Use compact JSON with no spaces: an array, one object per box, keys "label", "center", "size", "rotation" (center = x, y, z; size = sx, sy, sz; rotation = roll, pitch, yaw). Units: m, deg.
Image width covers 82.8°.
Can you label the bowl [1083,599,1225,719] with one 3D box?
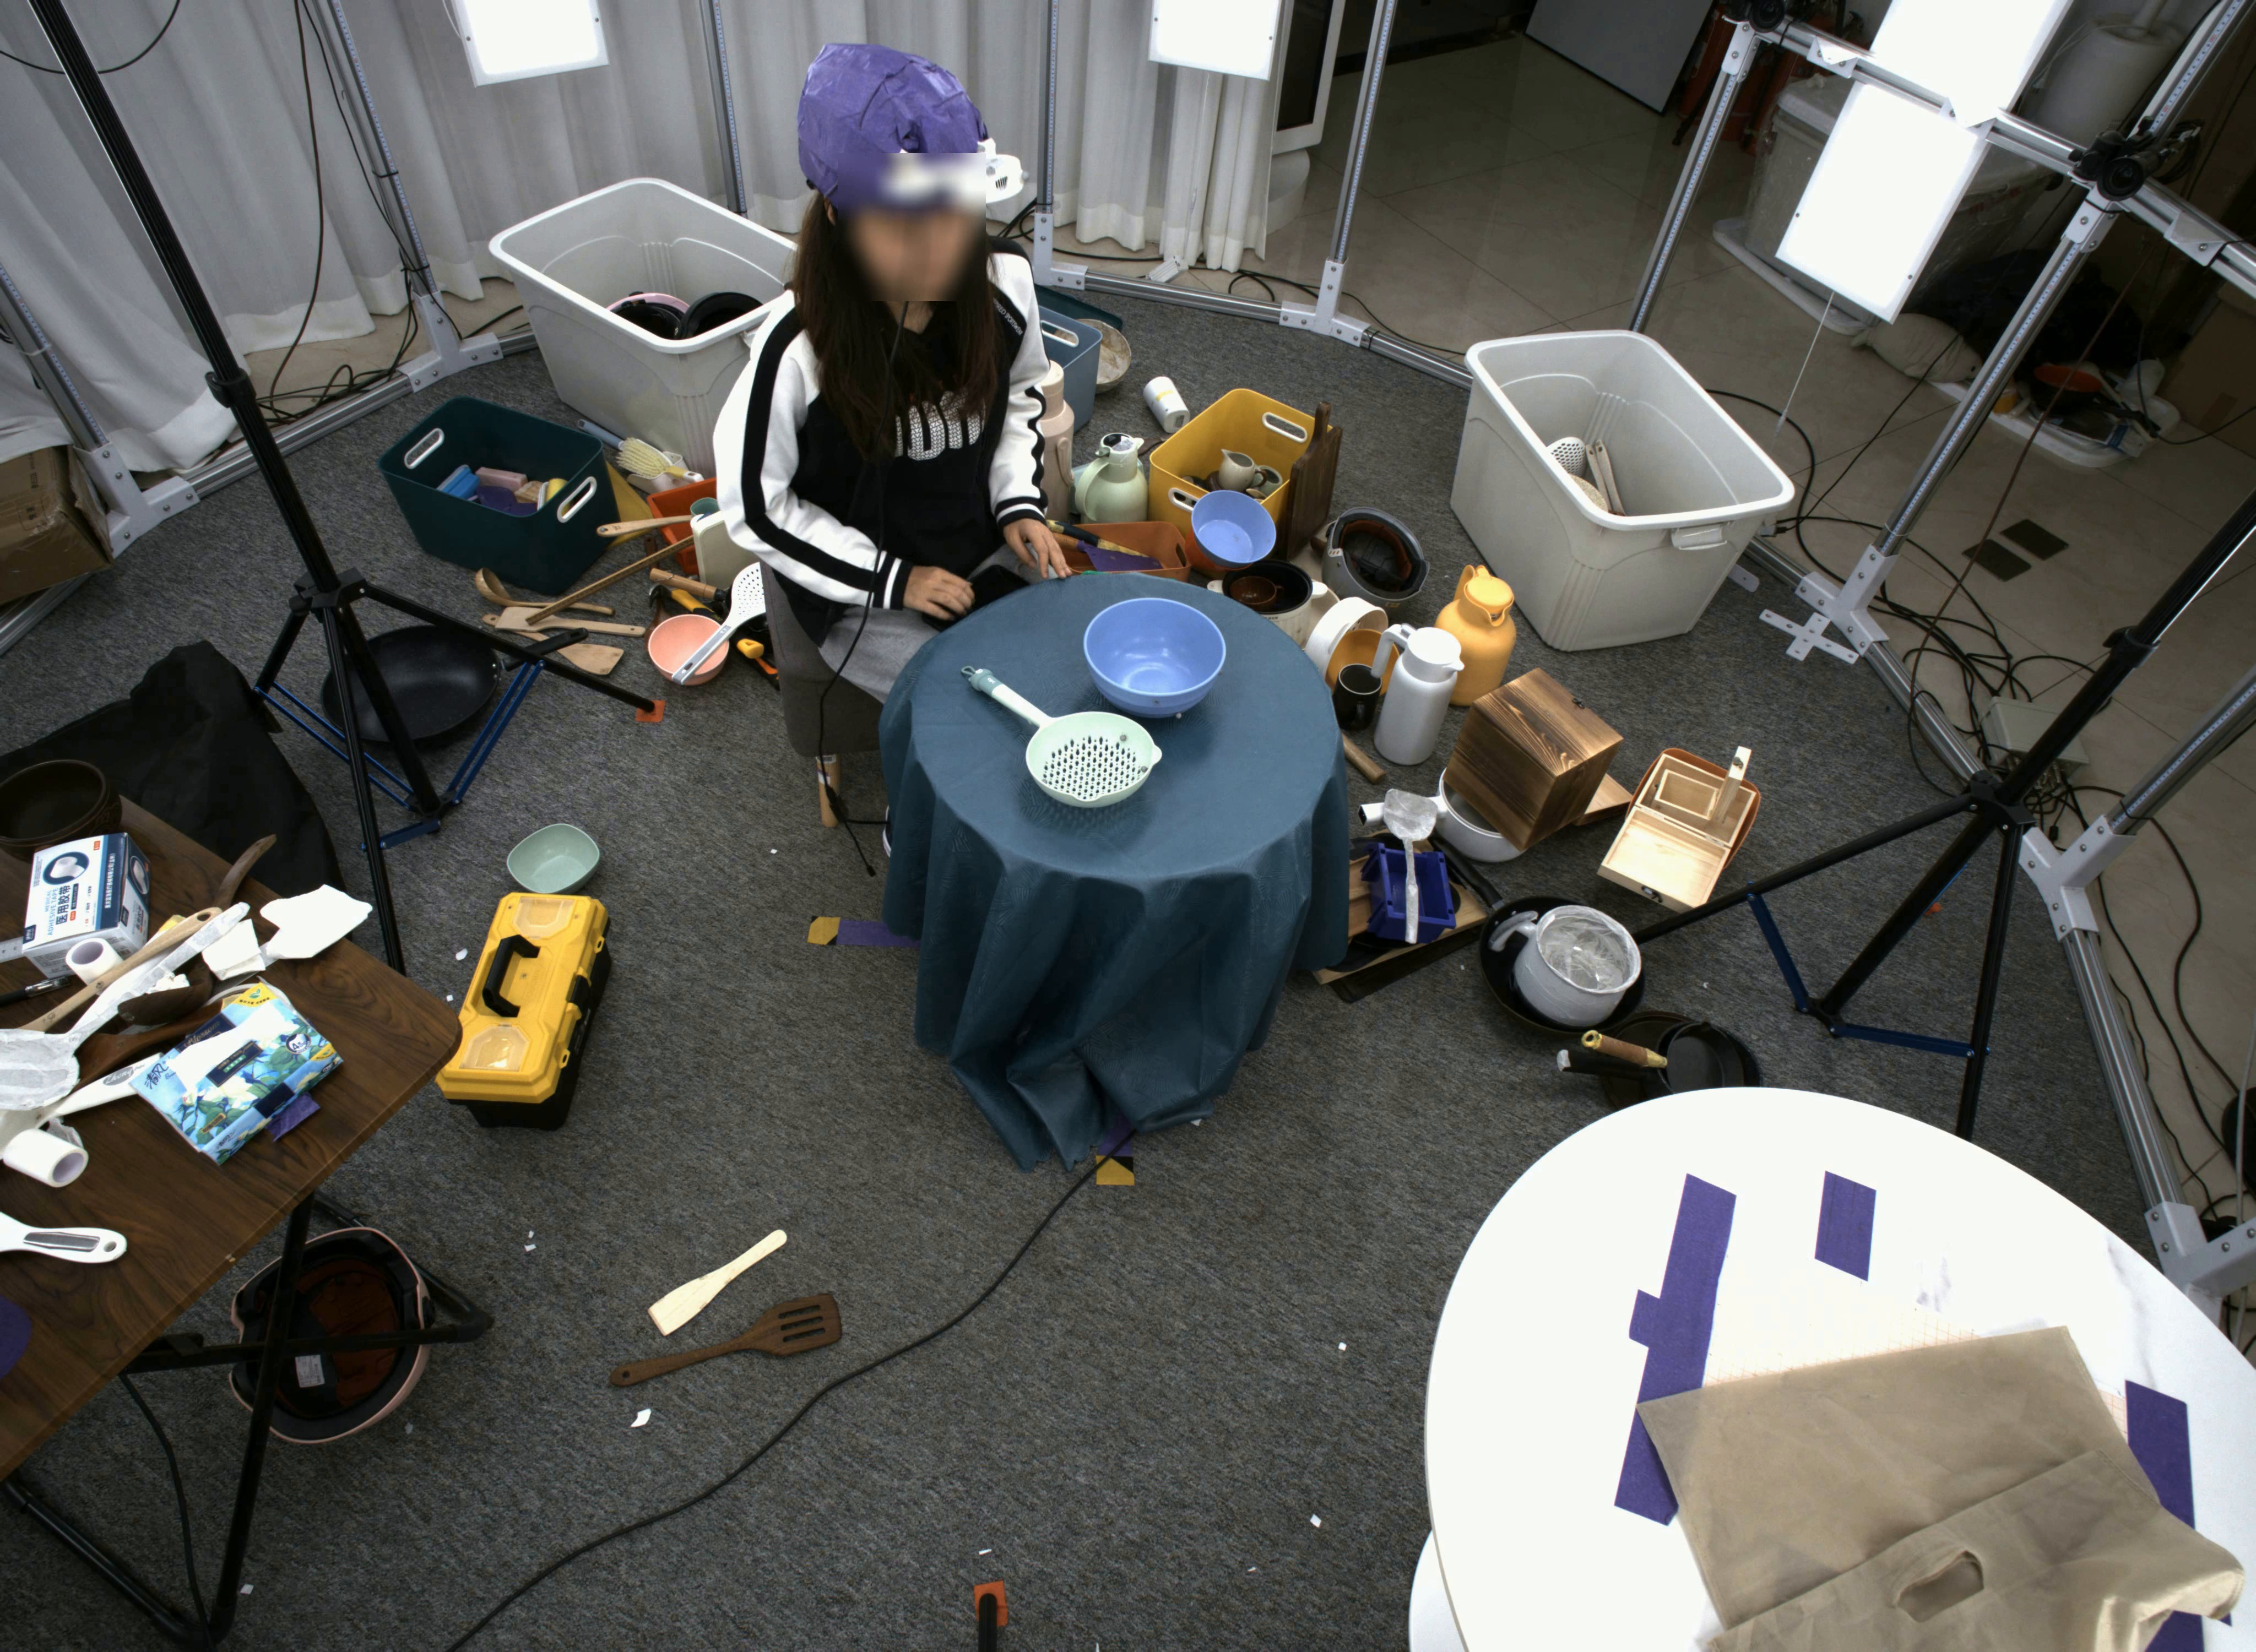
[{"label":"bowl","center":[0.034,-0.219,1.802],"size":[0.196,0.093,0.201],"rotation":[2,49,-2]}]

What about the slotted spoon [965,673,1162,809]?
[{"label":"slotted spoon","center":[-0.113,-0.134,1.742],"size":[0.170,0.073,0.365],"rotation":[-31,56,-28]}]
